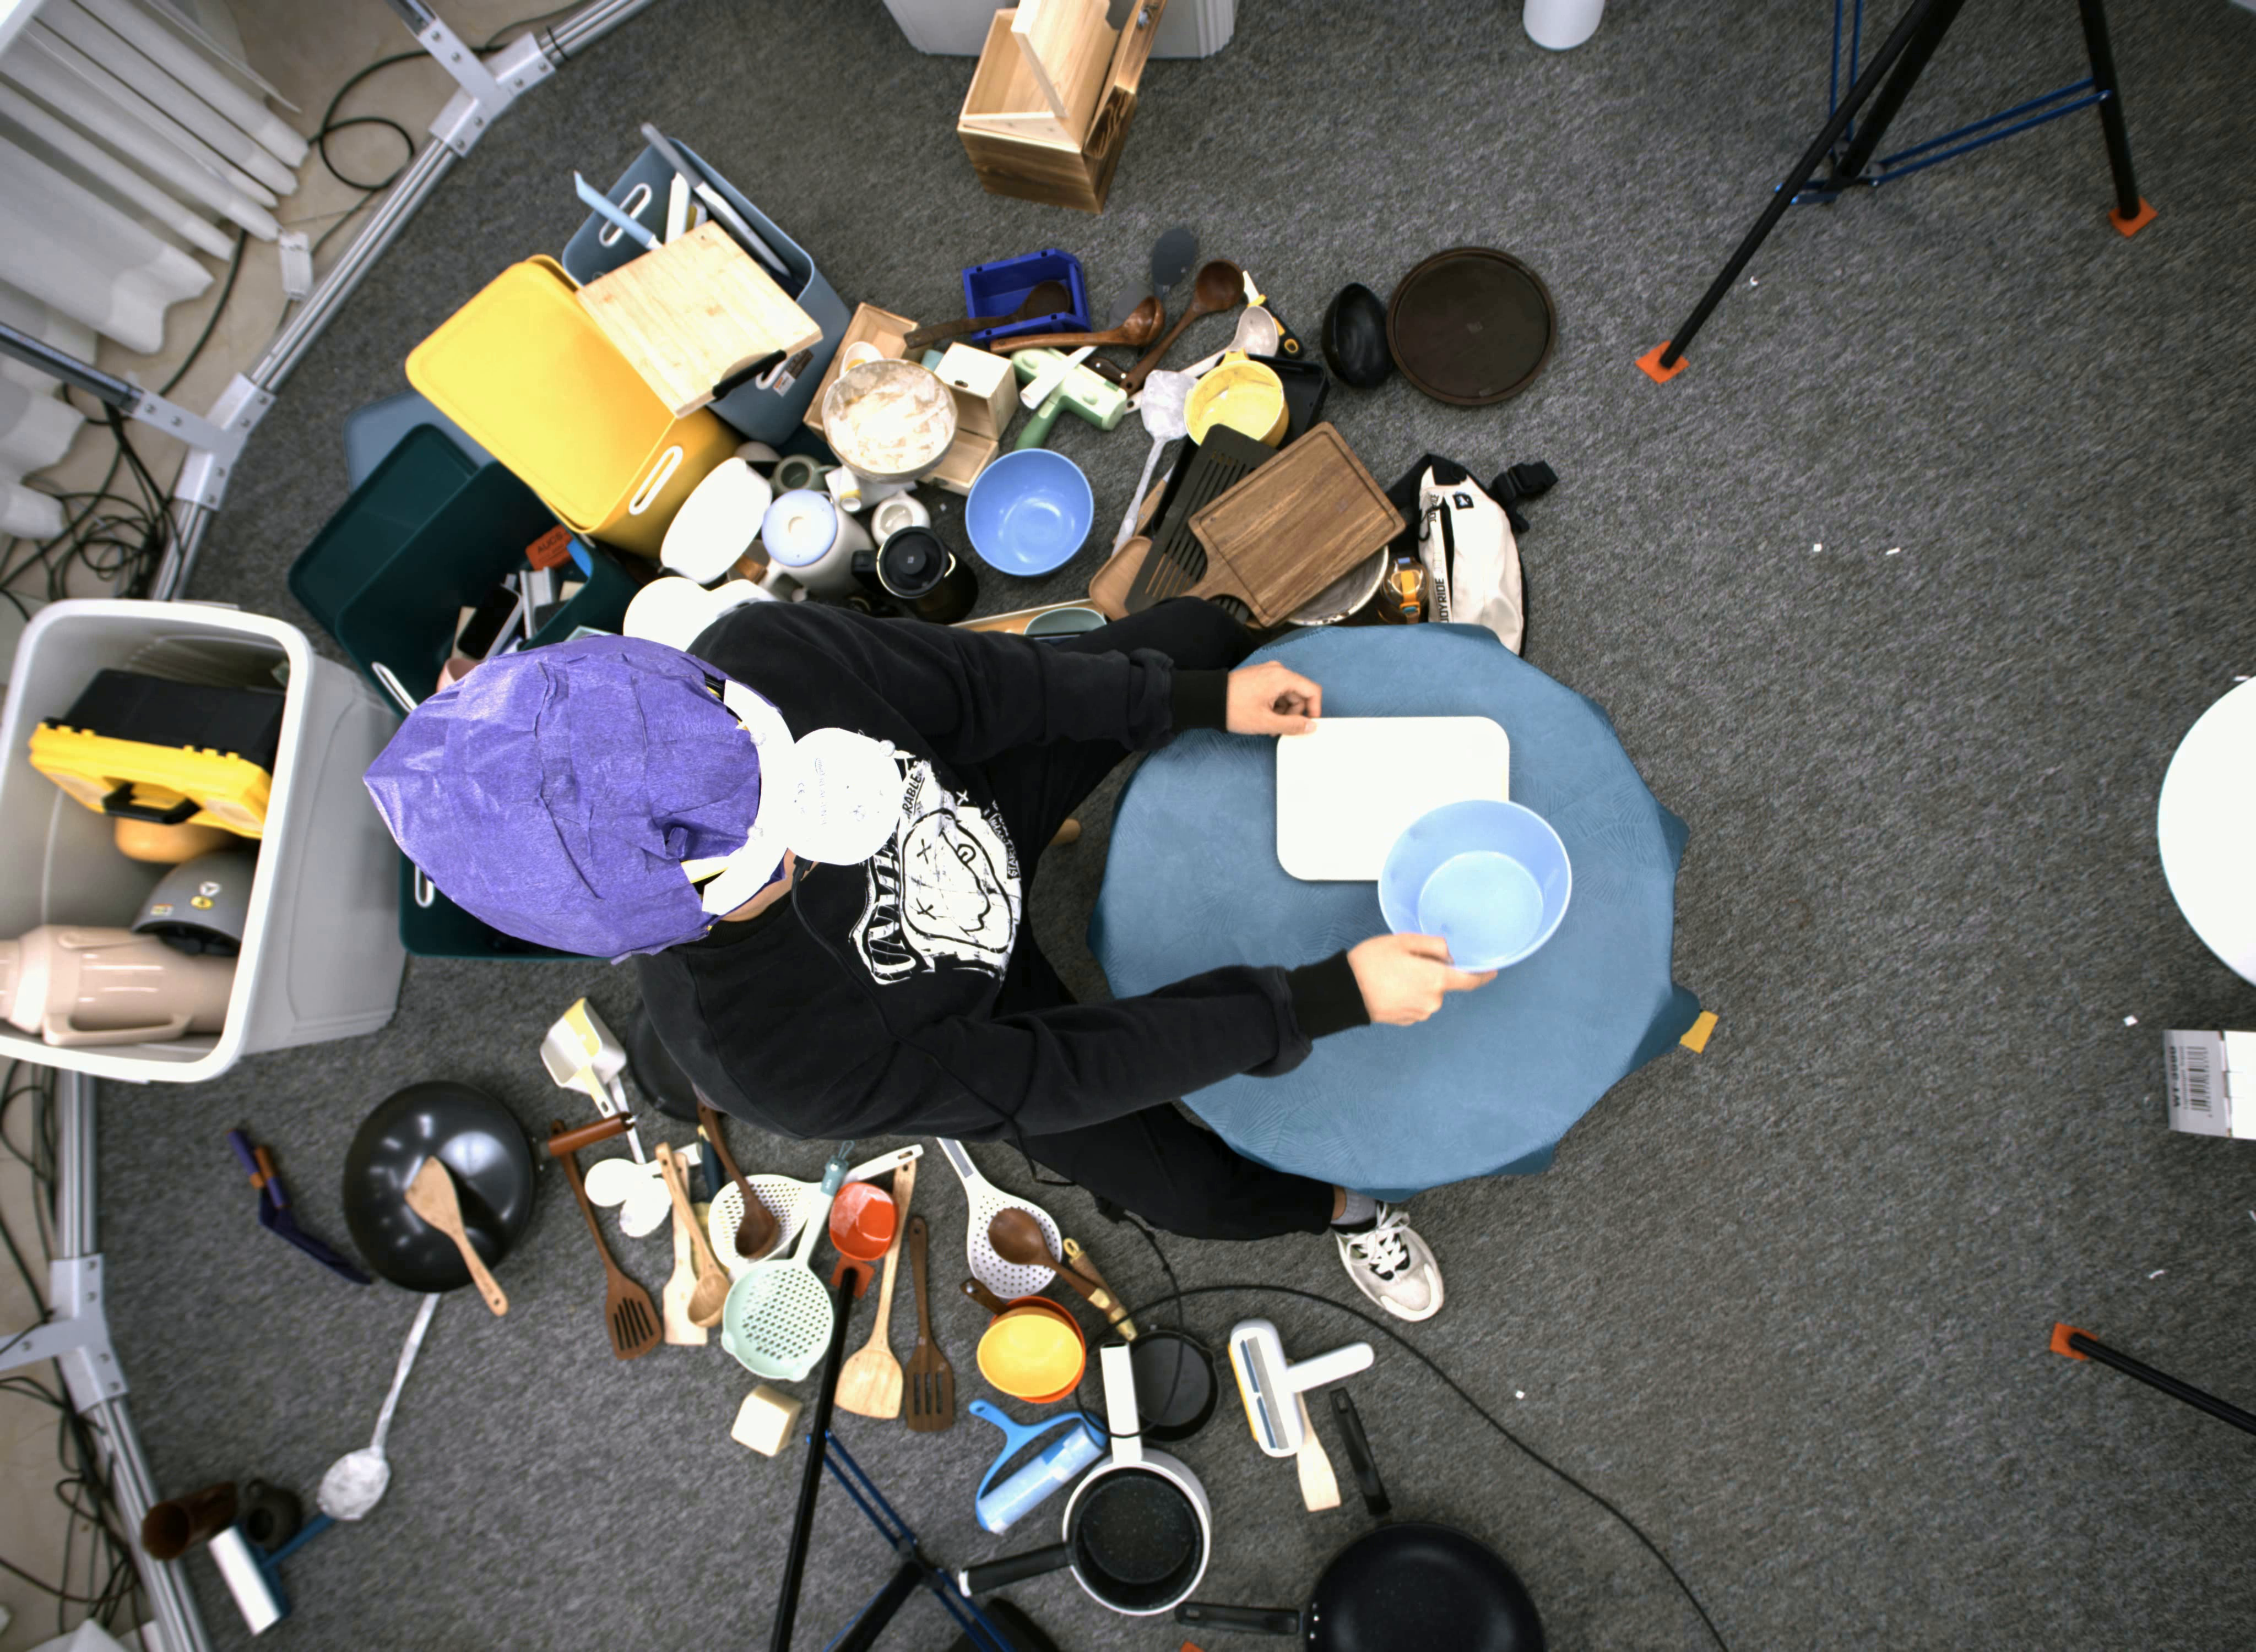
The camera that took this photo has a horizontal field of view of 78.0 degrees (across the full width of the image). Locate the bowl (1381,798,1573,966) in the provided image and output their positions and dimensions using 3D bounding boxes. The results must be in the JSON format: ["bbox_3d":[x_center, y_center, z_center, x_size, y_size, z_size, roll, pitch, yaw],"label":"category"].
[{"bbox_3d":[0.332,0.063,1.299,0.177,0.071,0.172,-11,58,17],"label":"bowl"}]

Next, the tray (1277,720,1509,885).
[{"bbox_3d":[0.278,-0.026,1.448,0.240,0.017,0.172,-1,95,9],"label":"tray"}]
